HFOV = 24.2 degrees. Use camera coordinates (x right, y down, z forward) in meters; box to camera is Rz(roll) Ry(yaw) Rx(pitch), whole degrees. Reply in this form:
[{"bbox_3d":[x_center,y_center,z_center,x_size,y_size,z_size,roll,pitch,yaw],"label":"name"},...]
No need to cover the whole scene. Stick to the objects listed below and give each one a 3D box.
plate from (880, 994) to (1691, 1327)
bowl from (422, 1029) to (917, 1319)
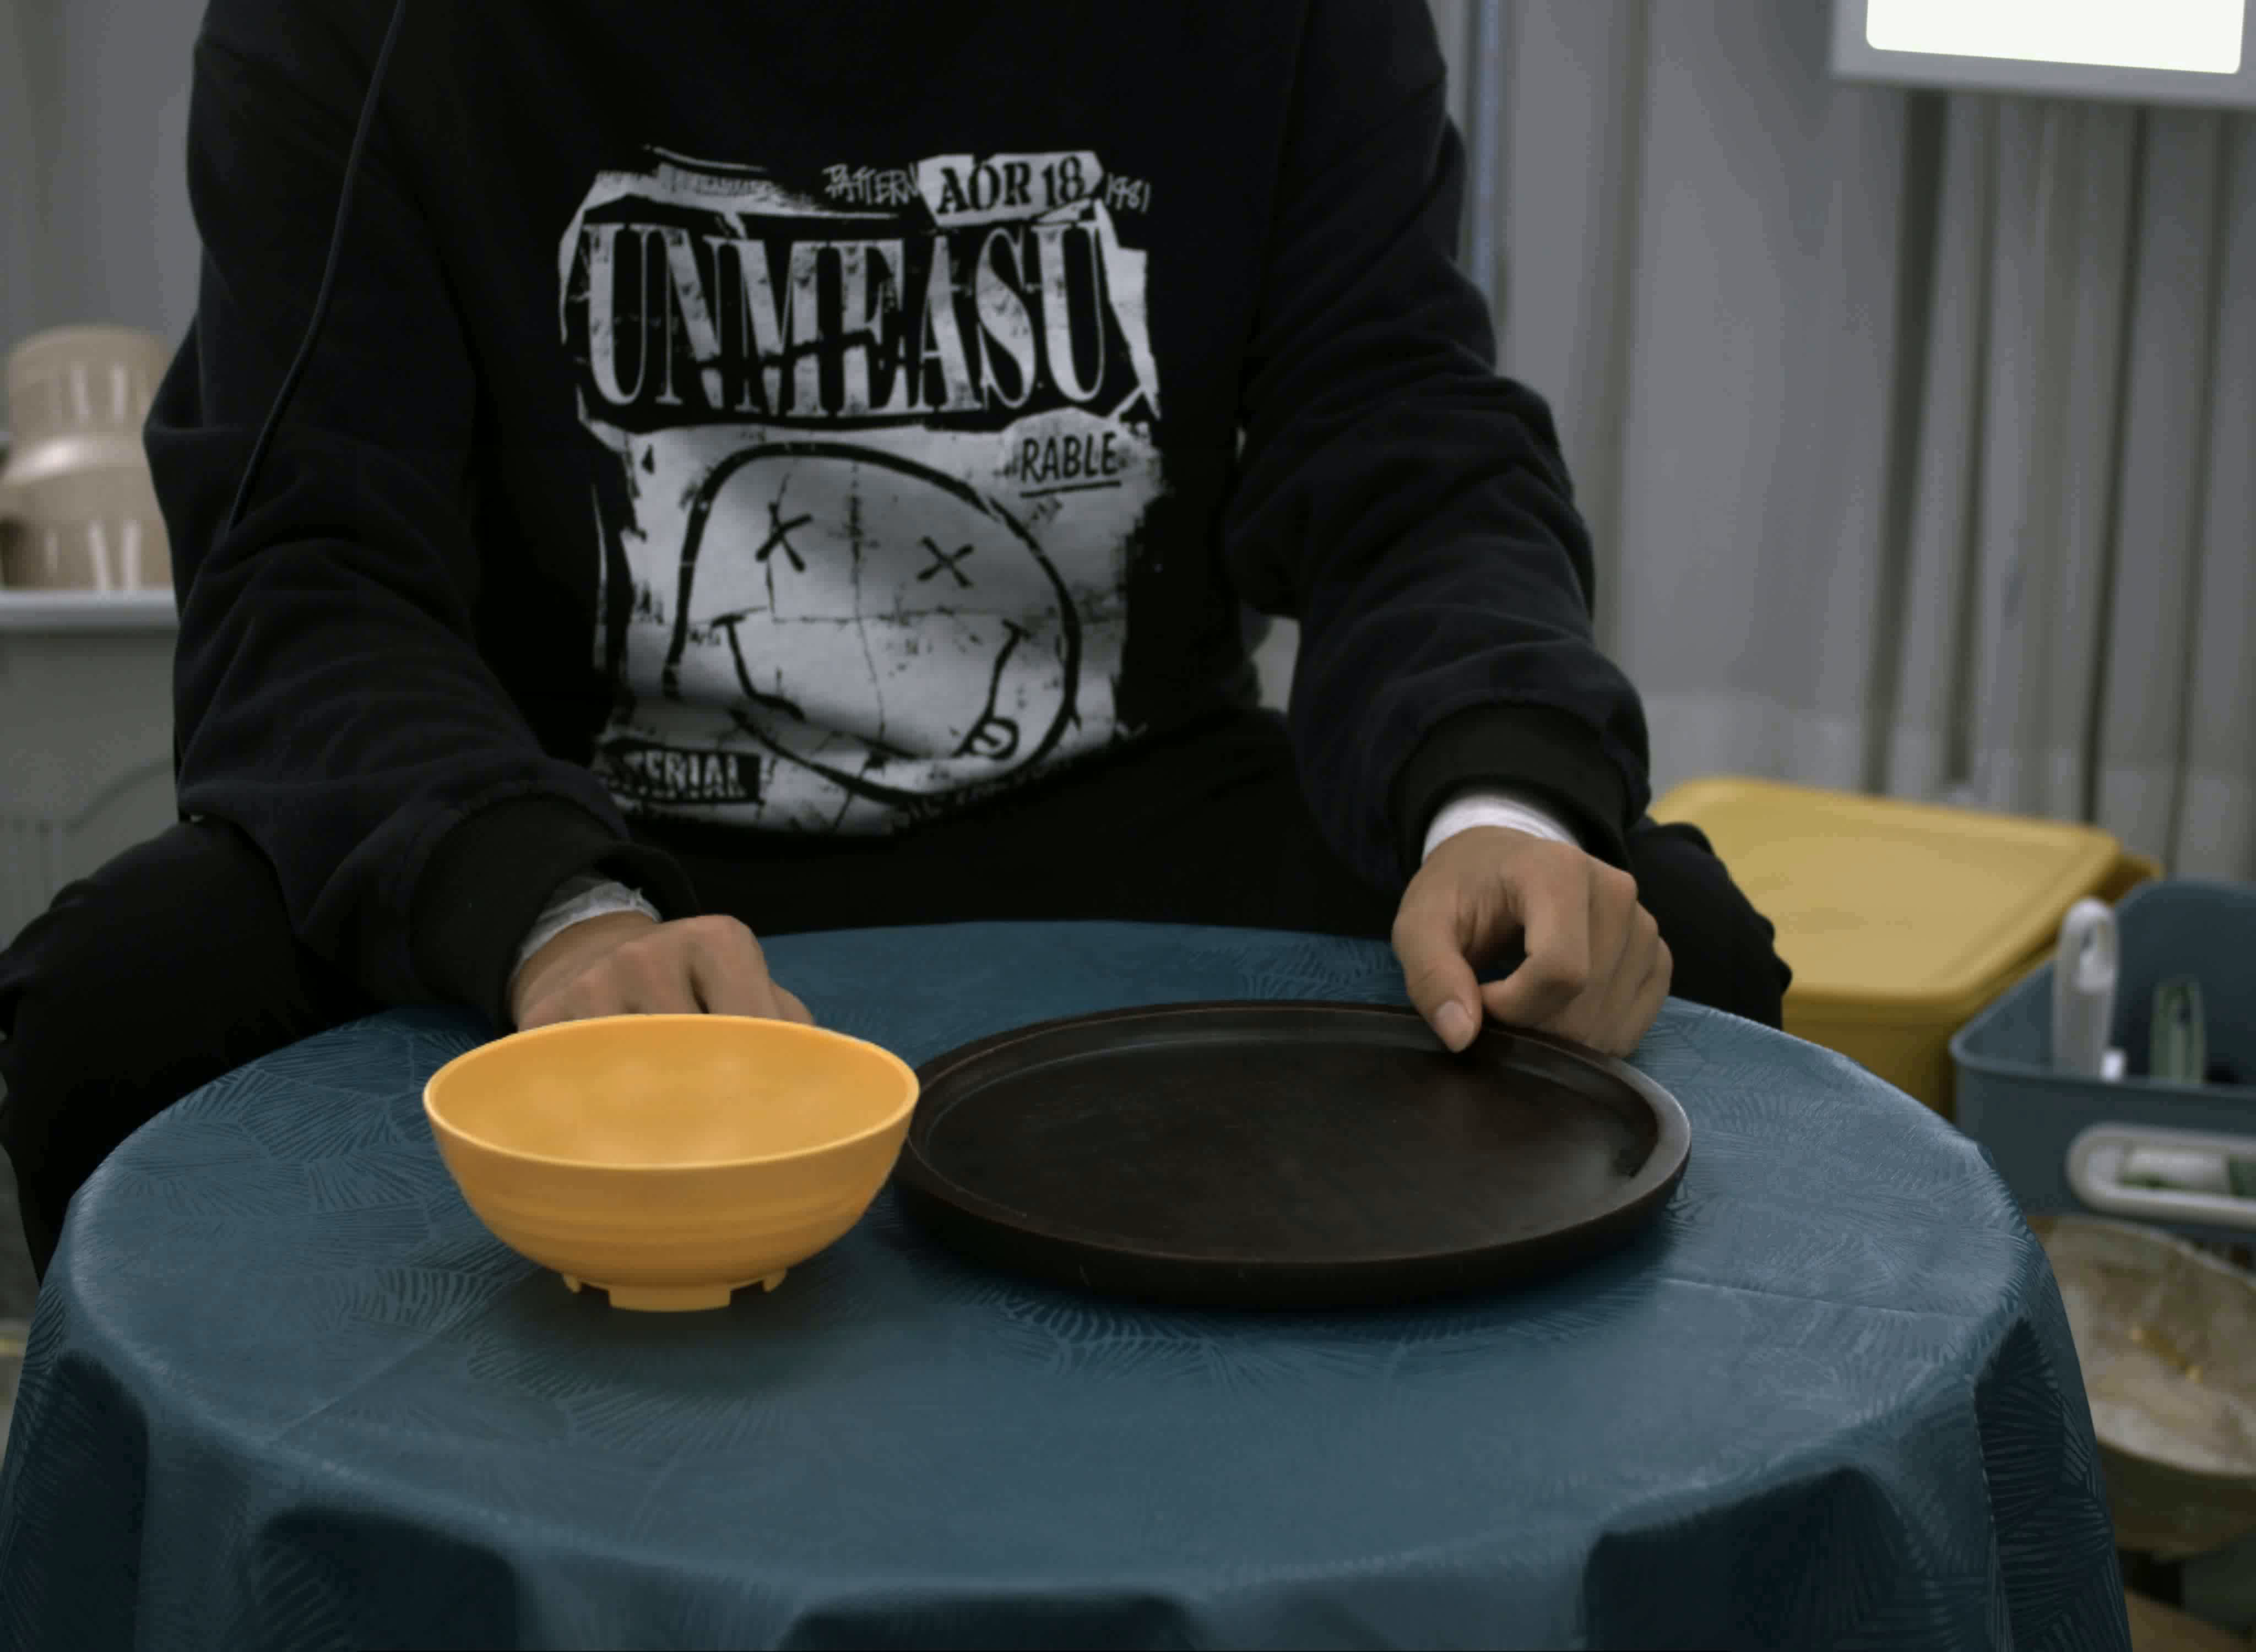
[{"bbox_3d":[0.048,0.101,1.630,0.254,0.029,0.253,-1,16,1],"label":"plate"},{"bbox_3d":[-0.134,0.106,1.542,0.145,0.060,0.144,2,14,0],"label":"bowl"}]
